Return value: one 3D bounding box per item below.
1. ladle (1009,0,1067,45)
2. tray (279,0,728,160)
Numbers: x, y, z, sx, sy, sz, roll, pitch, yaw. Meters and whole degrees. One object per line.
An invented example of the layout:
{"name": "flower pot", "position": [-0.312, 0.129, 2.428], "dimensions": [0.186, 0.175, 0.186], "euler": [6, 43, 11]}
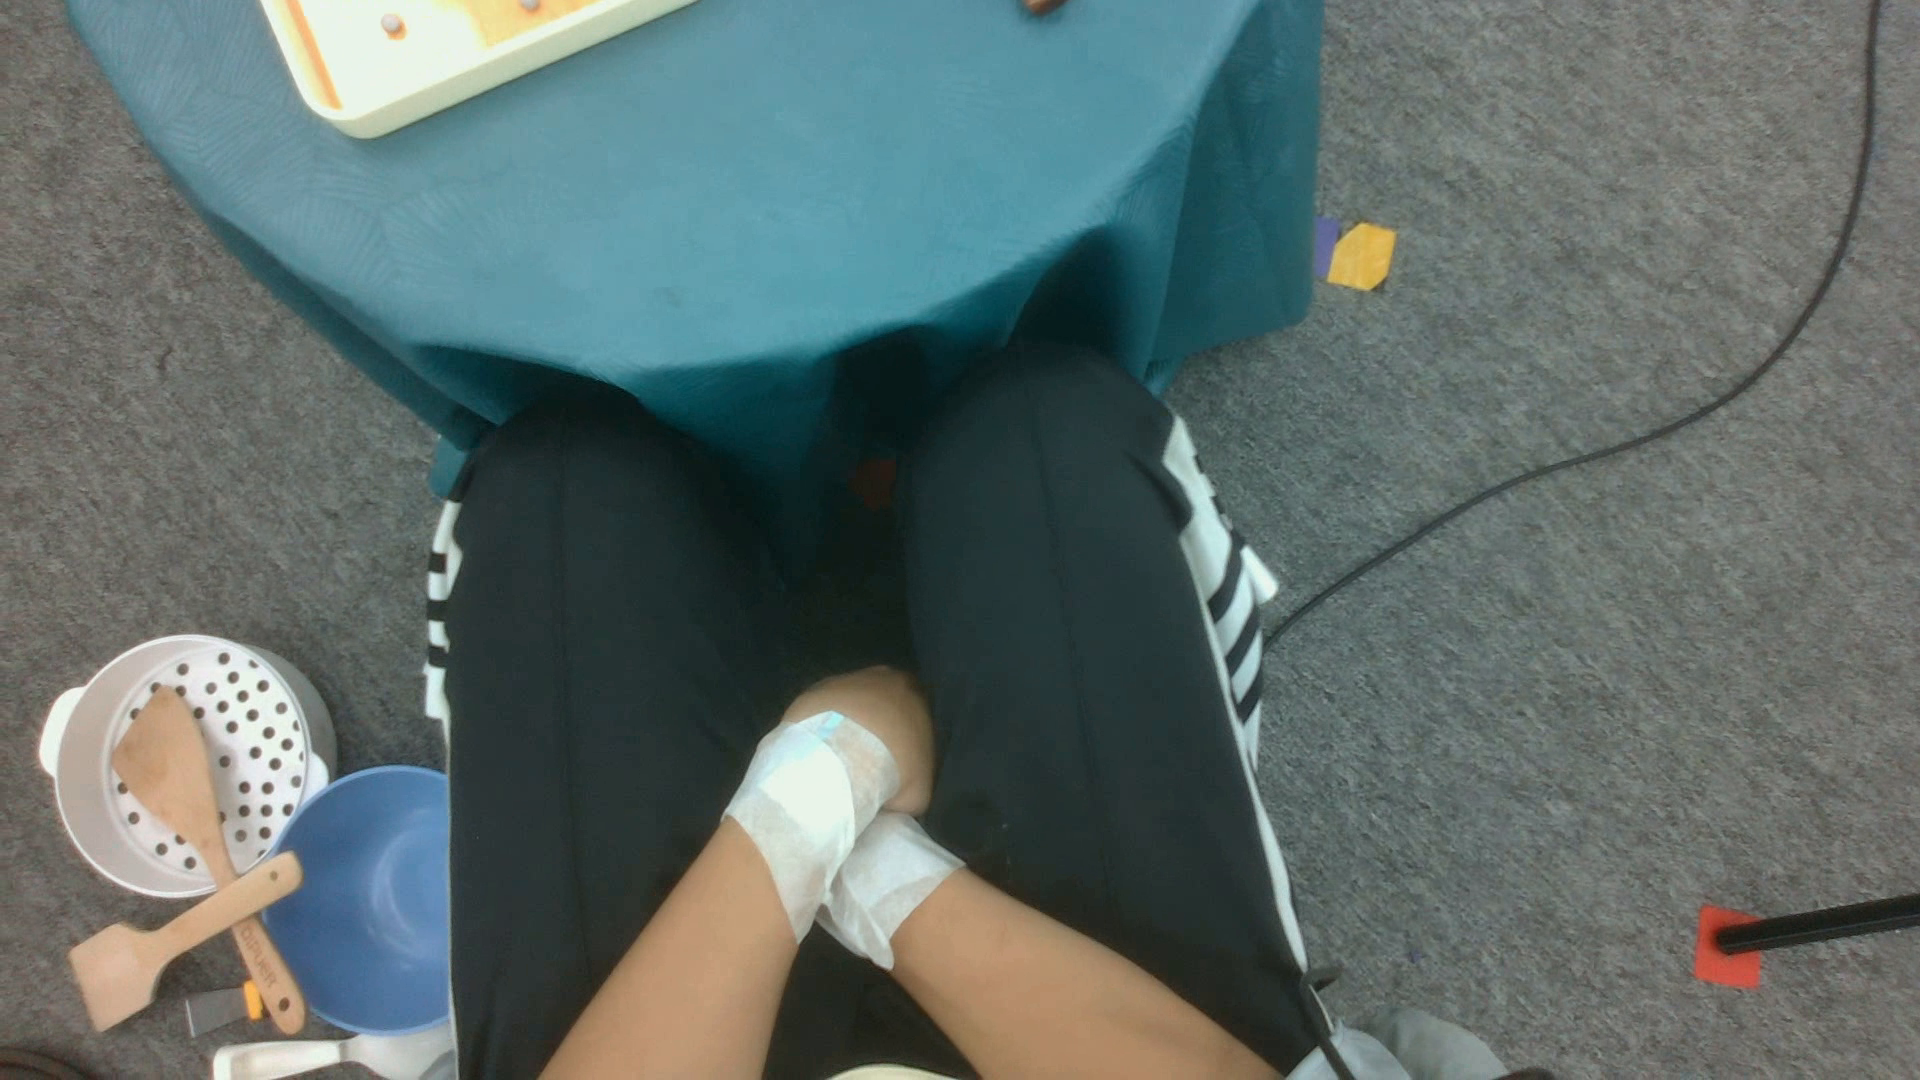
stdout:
{"name": "ladle", "position": [-0.006, -0.363, 0.621], "dimensions": [0.081, 0.077, 0.274], "euler": [-17, 82, 41]}
{"name": "tray", "position": [-0.248, -0.343, 0.642], "dimensions": [0.191, 0.027, 0.300], "euler": [-24, 83, -2]}
